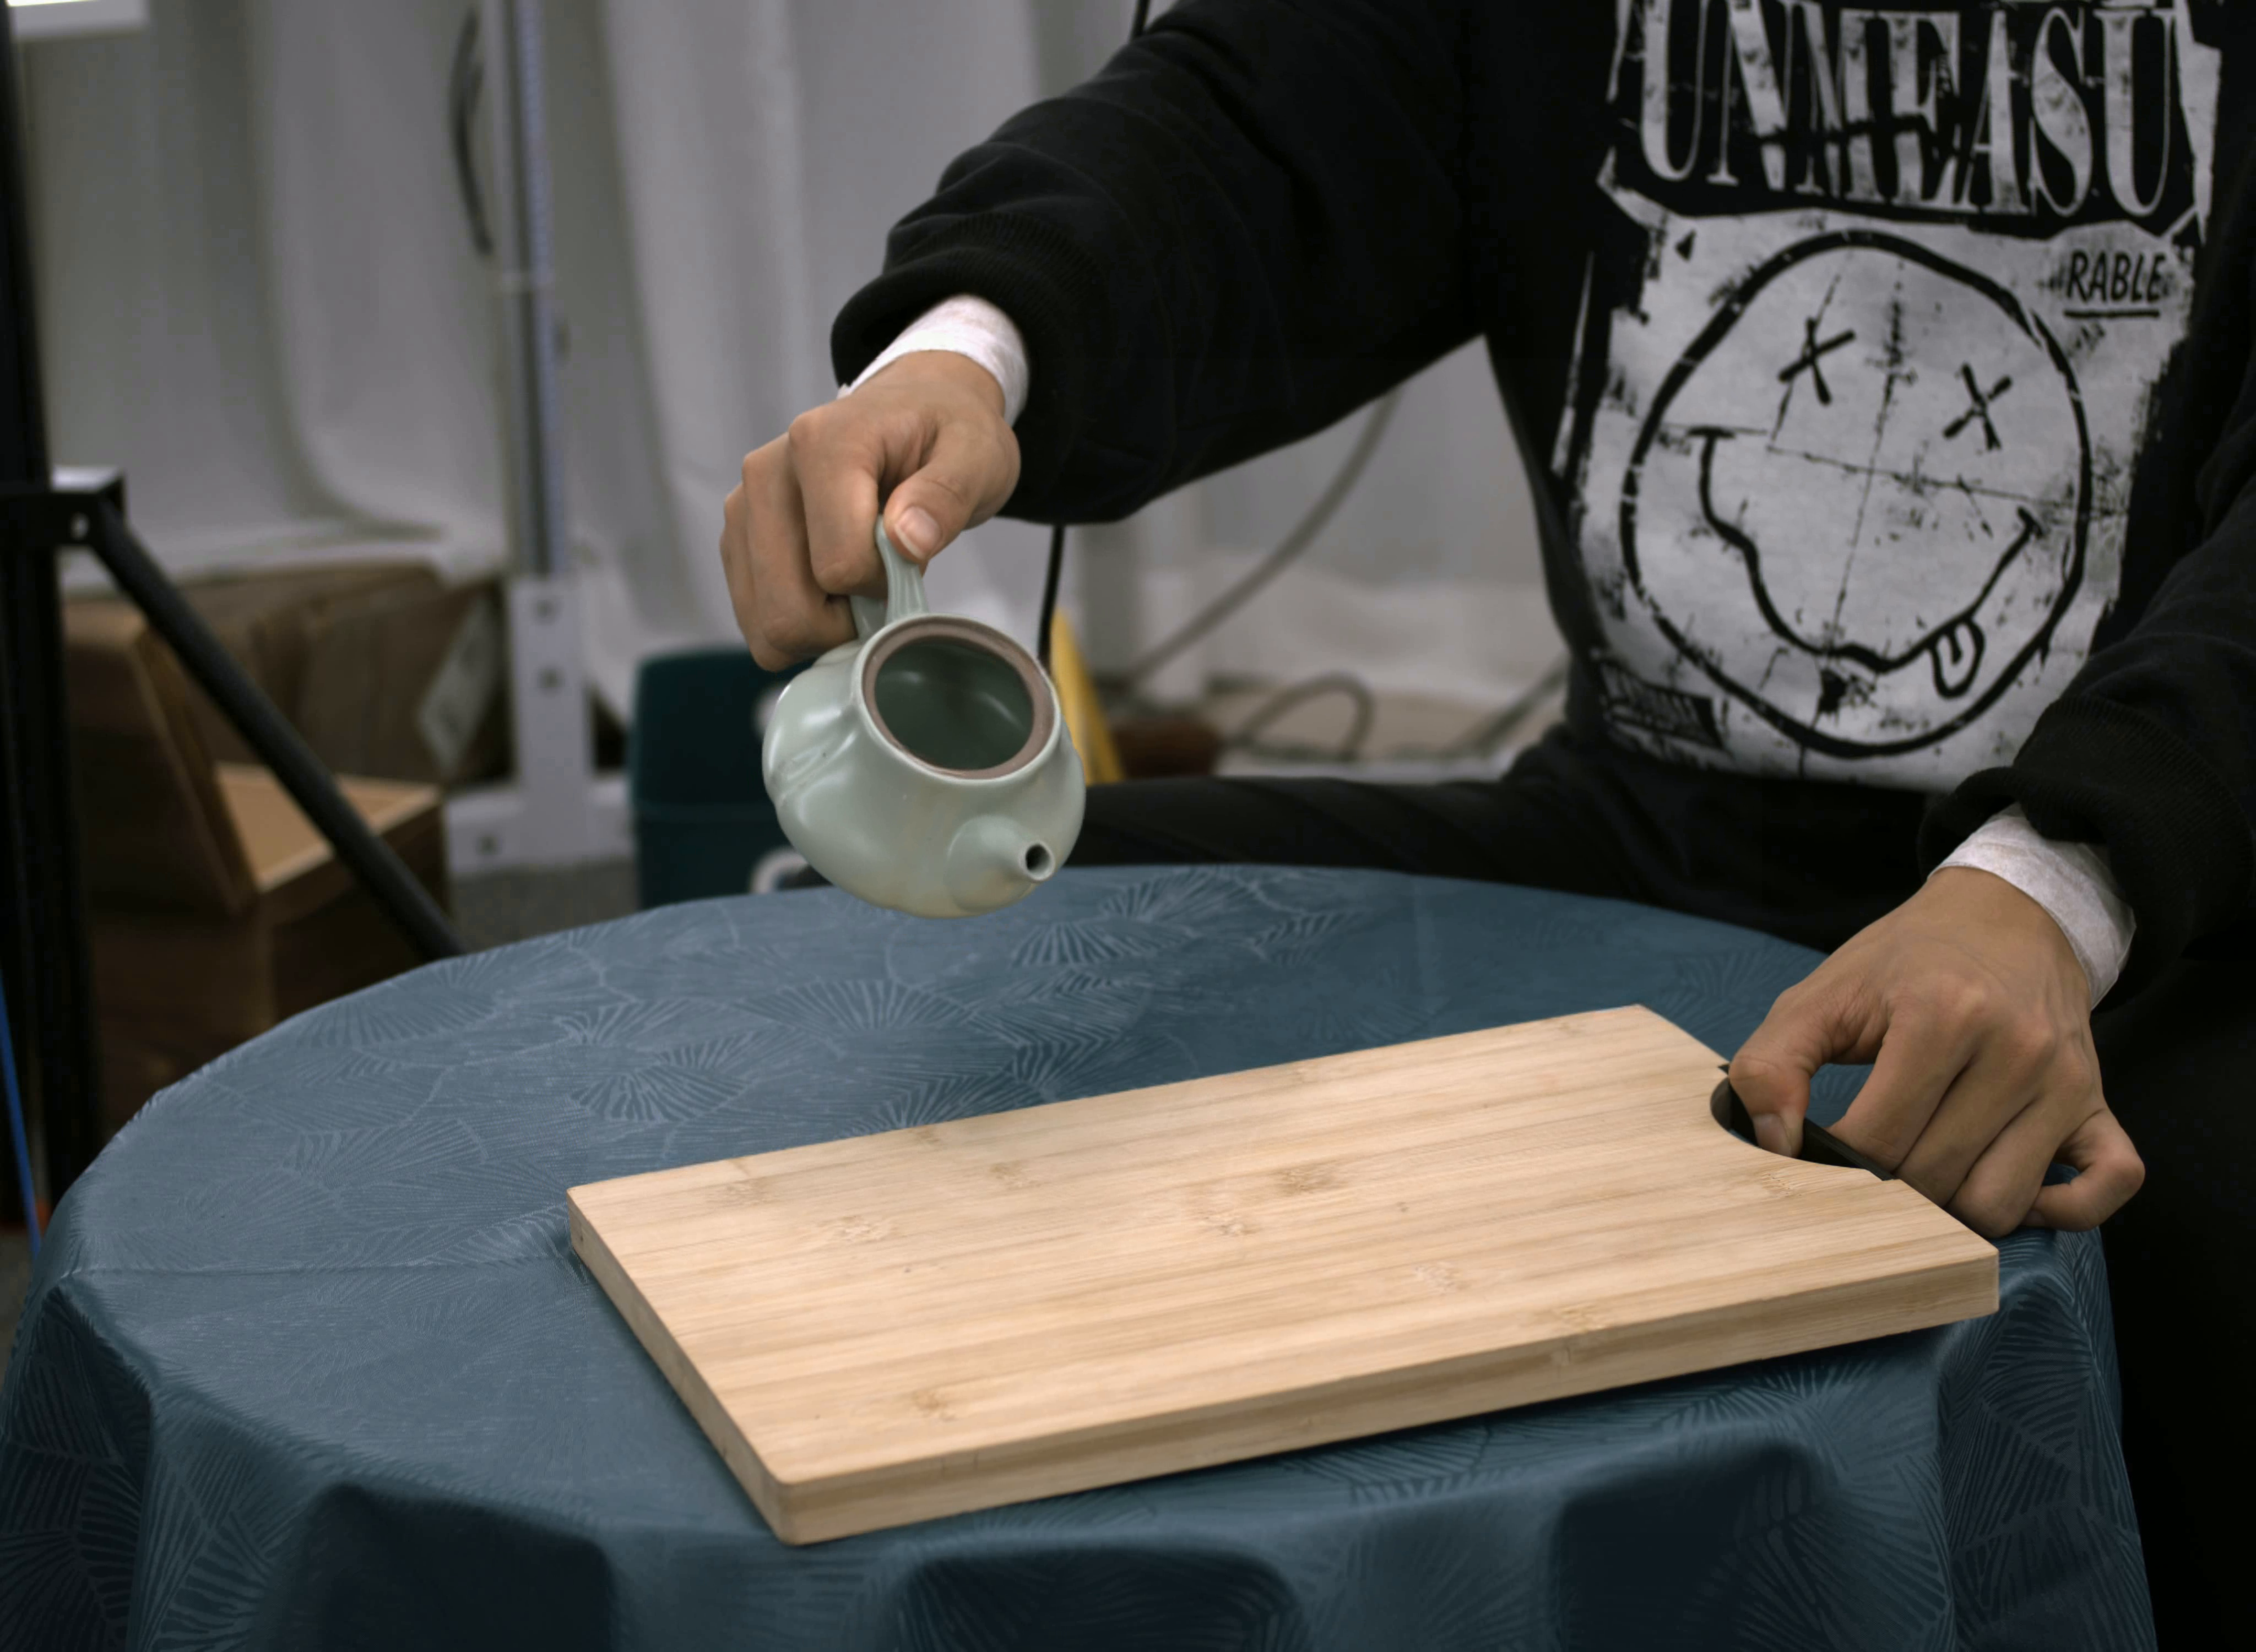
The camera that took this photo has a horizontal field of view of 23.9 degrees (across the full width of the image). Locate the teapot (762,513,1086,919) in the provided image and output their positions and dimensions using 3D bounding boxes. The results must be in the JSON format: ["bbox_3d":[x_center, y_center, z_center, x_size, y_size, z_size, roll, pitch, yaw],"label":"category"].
[{"bbox_3d":[-0.057,-0.026,1.542,0.094,0.061,0.139,-13,60,-25],"label":"teapot"}]

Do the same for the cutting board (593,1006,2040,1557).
[{"bbox_3d":[0.042,0.118,1.467,0.343,0.023,0.255,-9,17,-16],"label":"cutting board"}]
